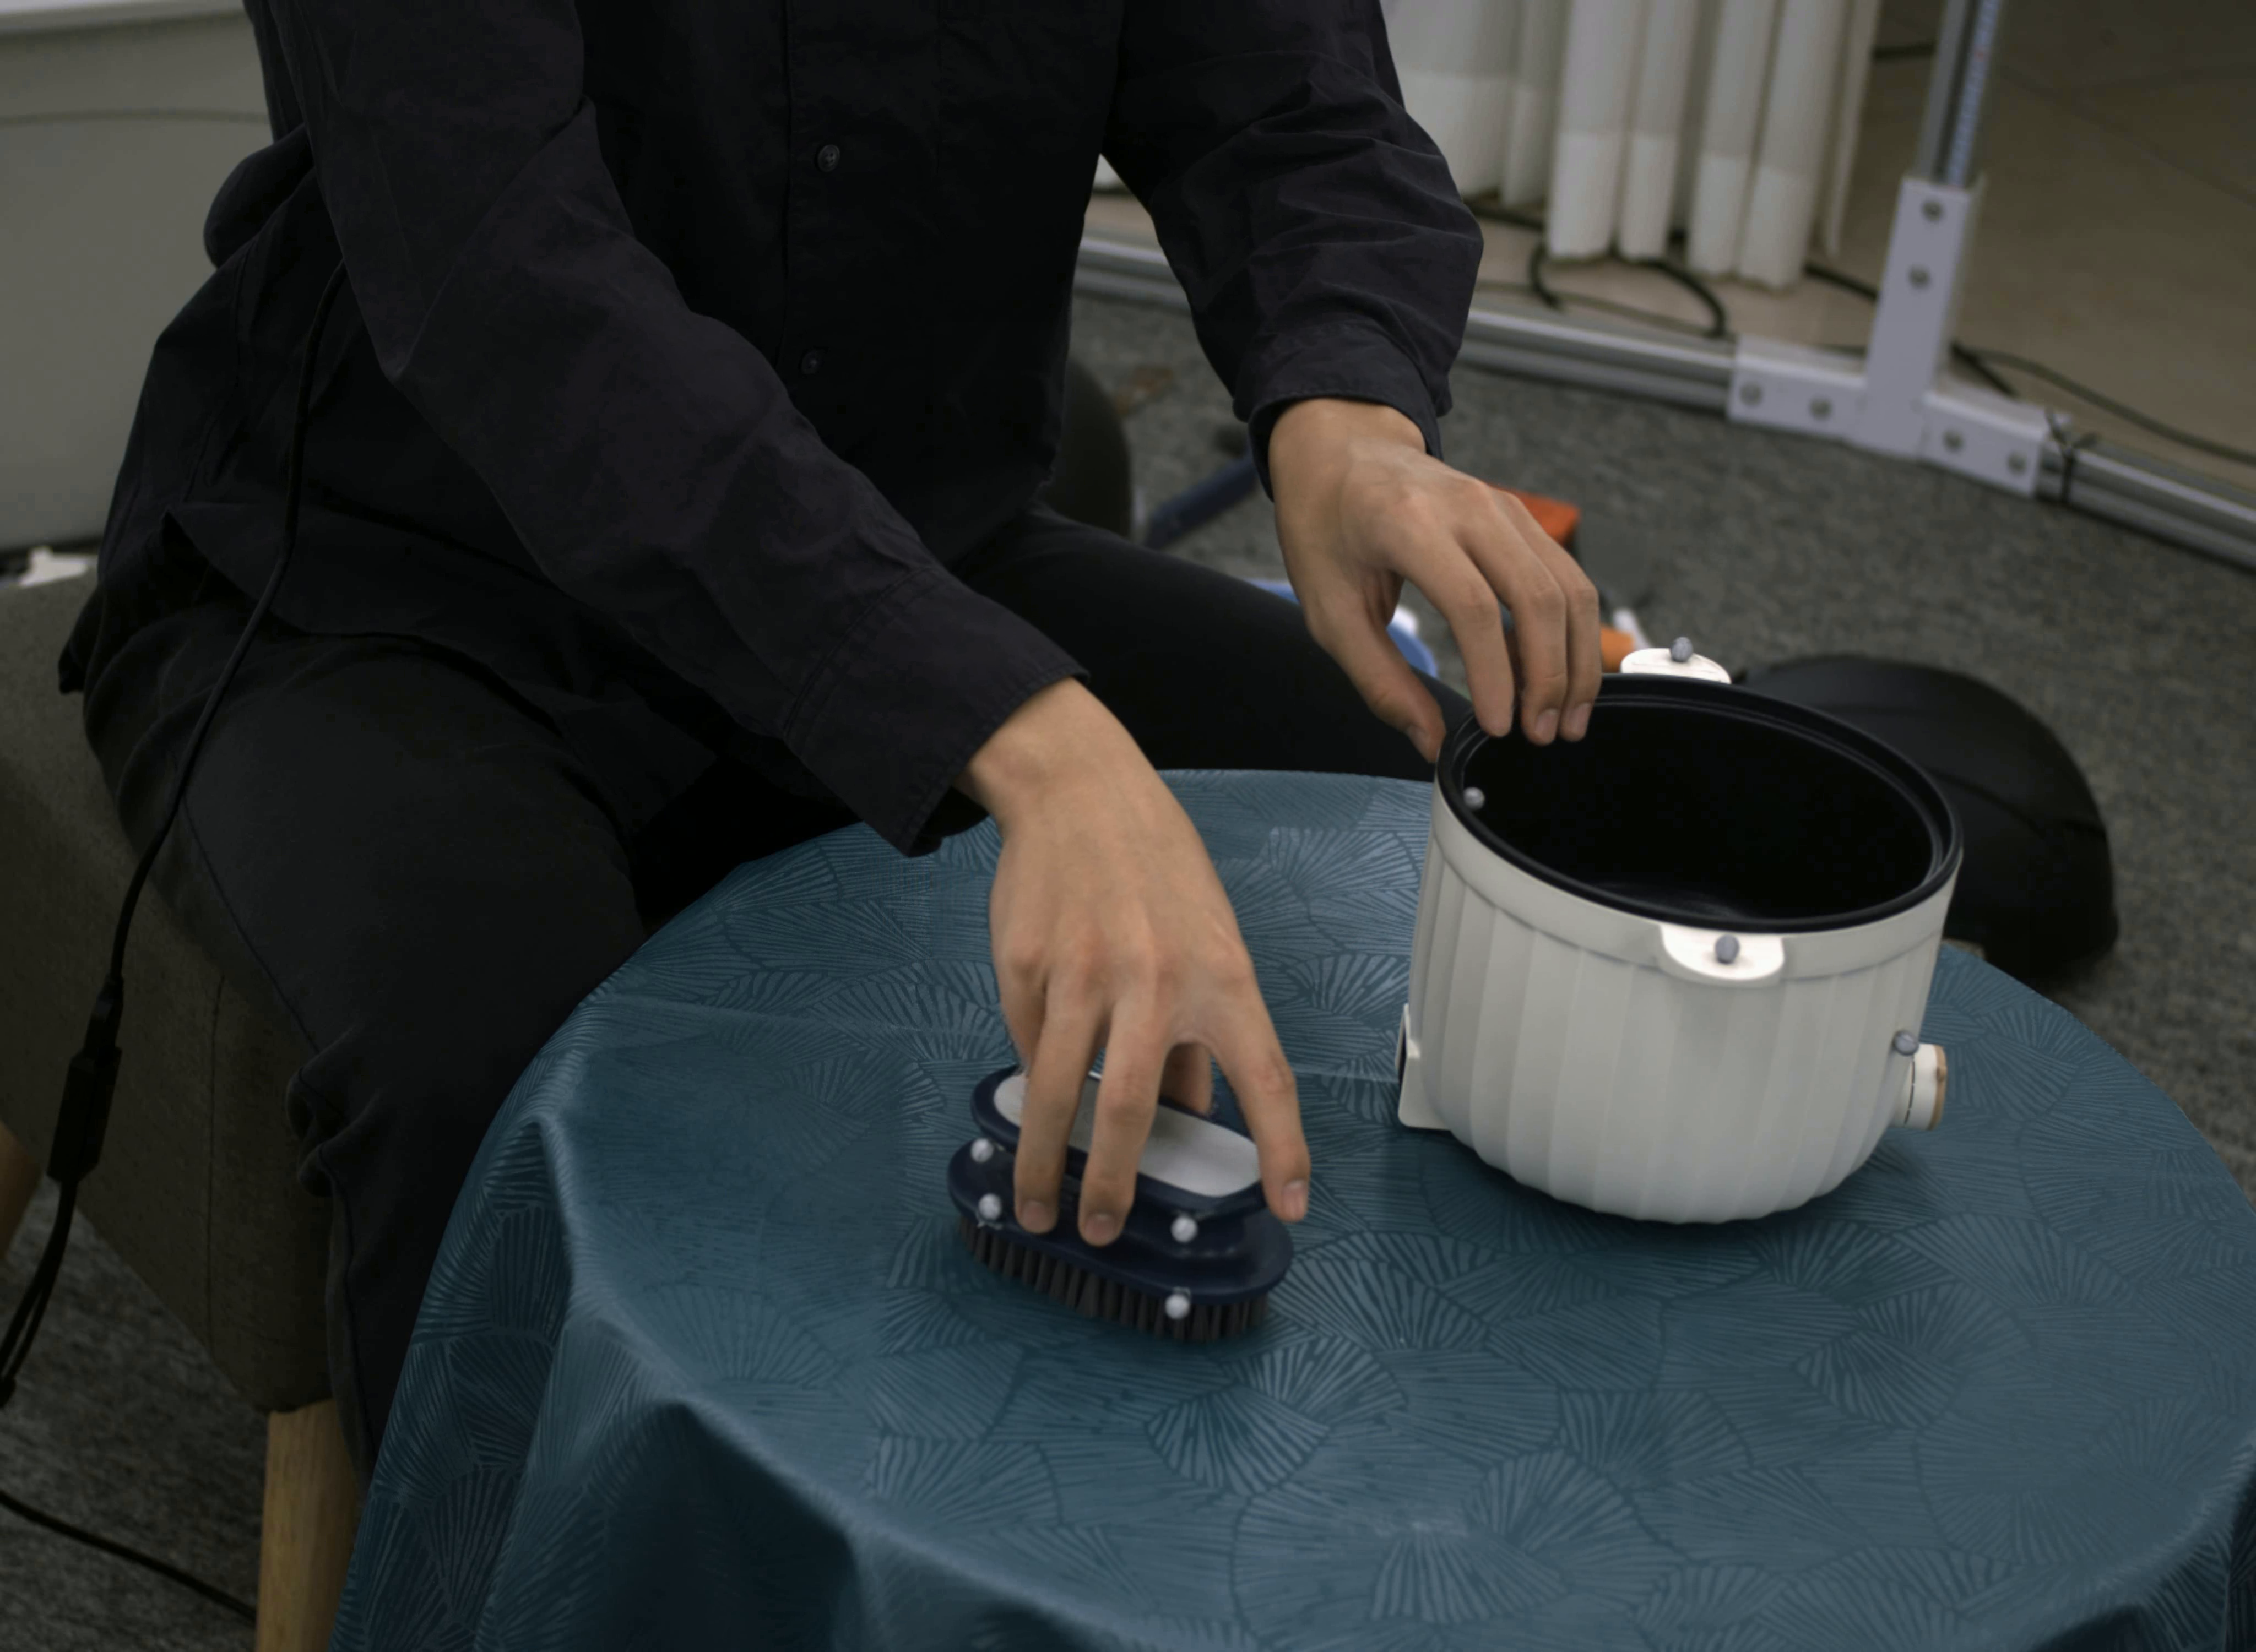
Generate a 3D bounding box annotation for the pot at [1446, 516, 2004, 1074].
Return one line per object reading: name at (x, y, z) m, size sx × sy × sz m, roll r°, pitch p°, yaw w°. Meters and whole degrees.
pot at (0.212, -0.003, 1.876) m, size 0.190 × 0.142 × 0.242 m, roll 3°, pitch 29°, yaw -2°

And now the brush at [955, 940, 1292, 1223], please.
brush at (-0.001, 0.087, 1.766) m, size 0.122 × 0.061 × 0.068 m, roll 25°, pitch 33°, yaw 25°
